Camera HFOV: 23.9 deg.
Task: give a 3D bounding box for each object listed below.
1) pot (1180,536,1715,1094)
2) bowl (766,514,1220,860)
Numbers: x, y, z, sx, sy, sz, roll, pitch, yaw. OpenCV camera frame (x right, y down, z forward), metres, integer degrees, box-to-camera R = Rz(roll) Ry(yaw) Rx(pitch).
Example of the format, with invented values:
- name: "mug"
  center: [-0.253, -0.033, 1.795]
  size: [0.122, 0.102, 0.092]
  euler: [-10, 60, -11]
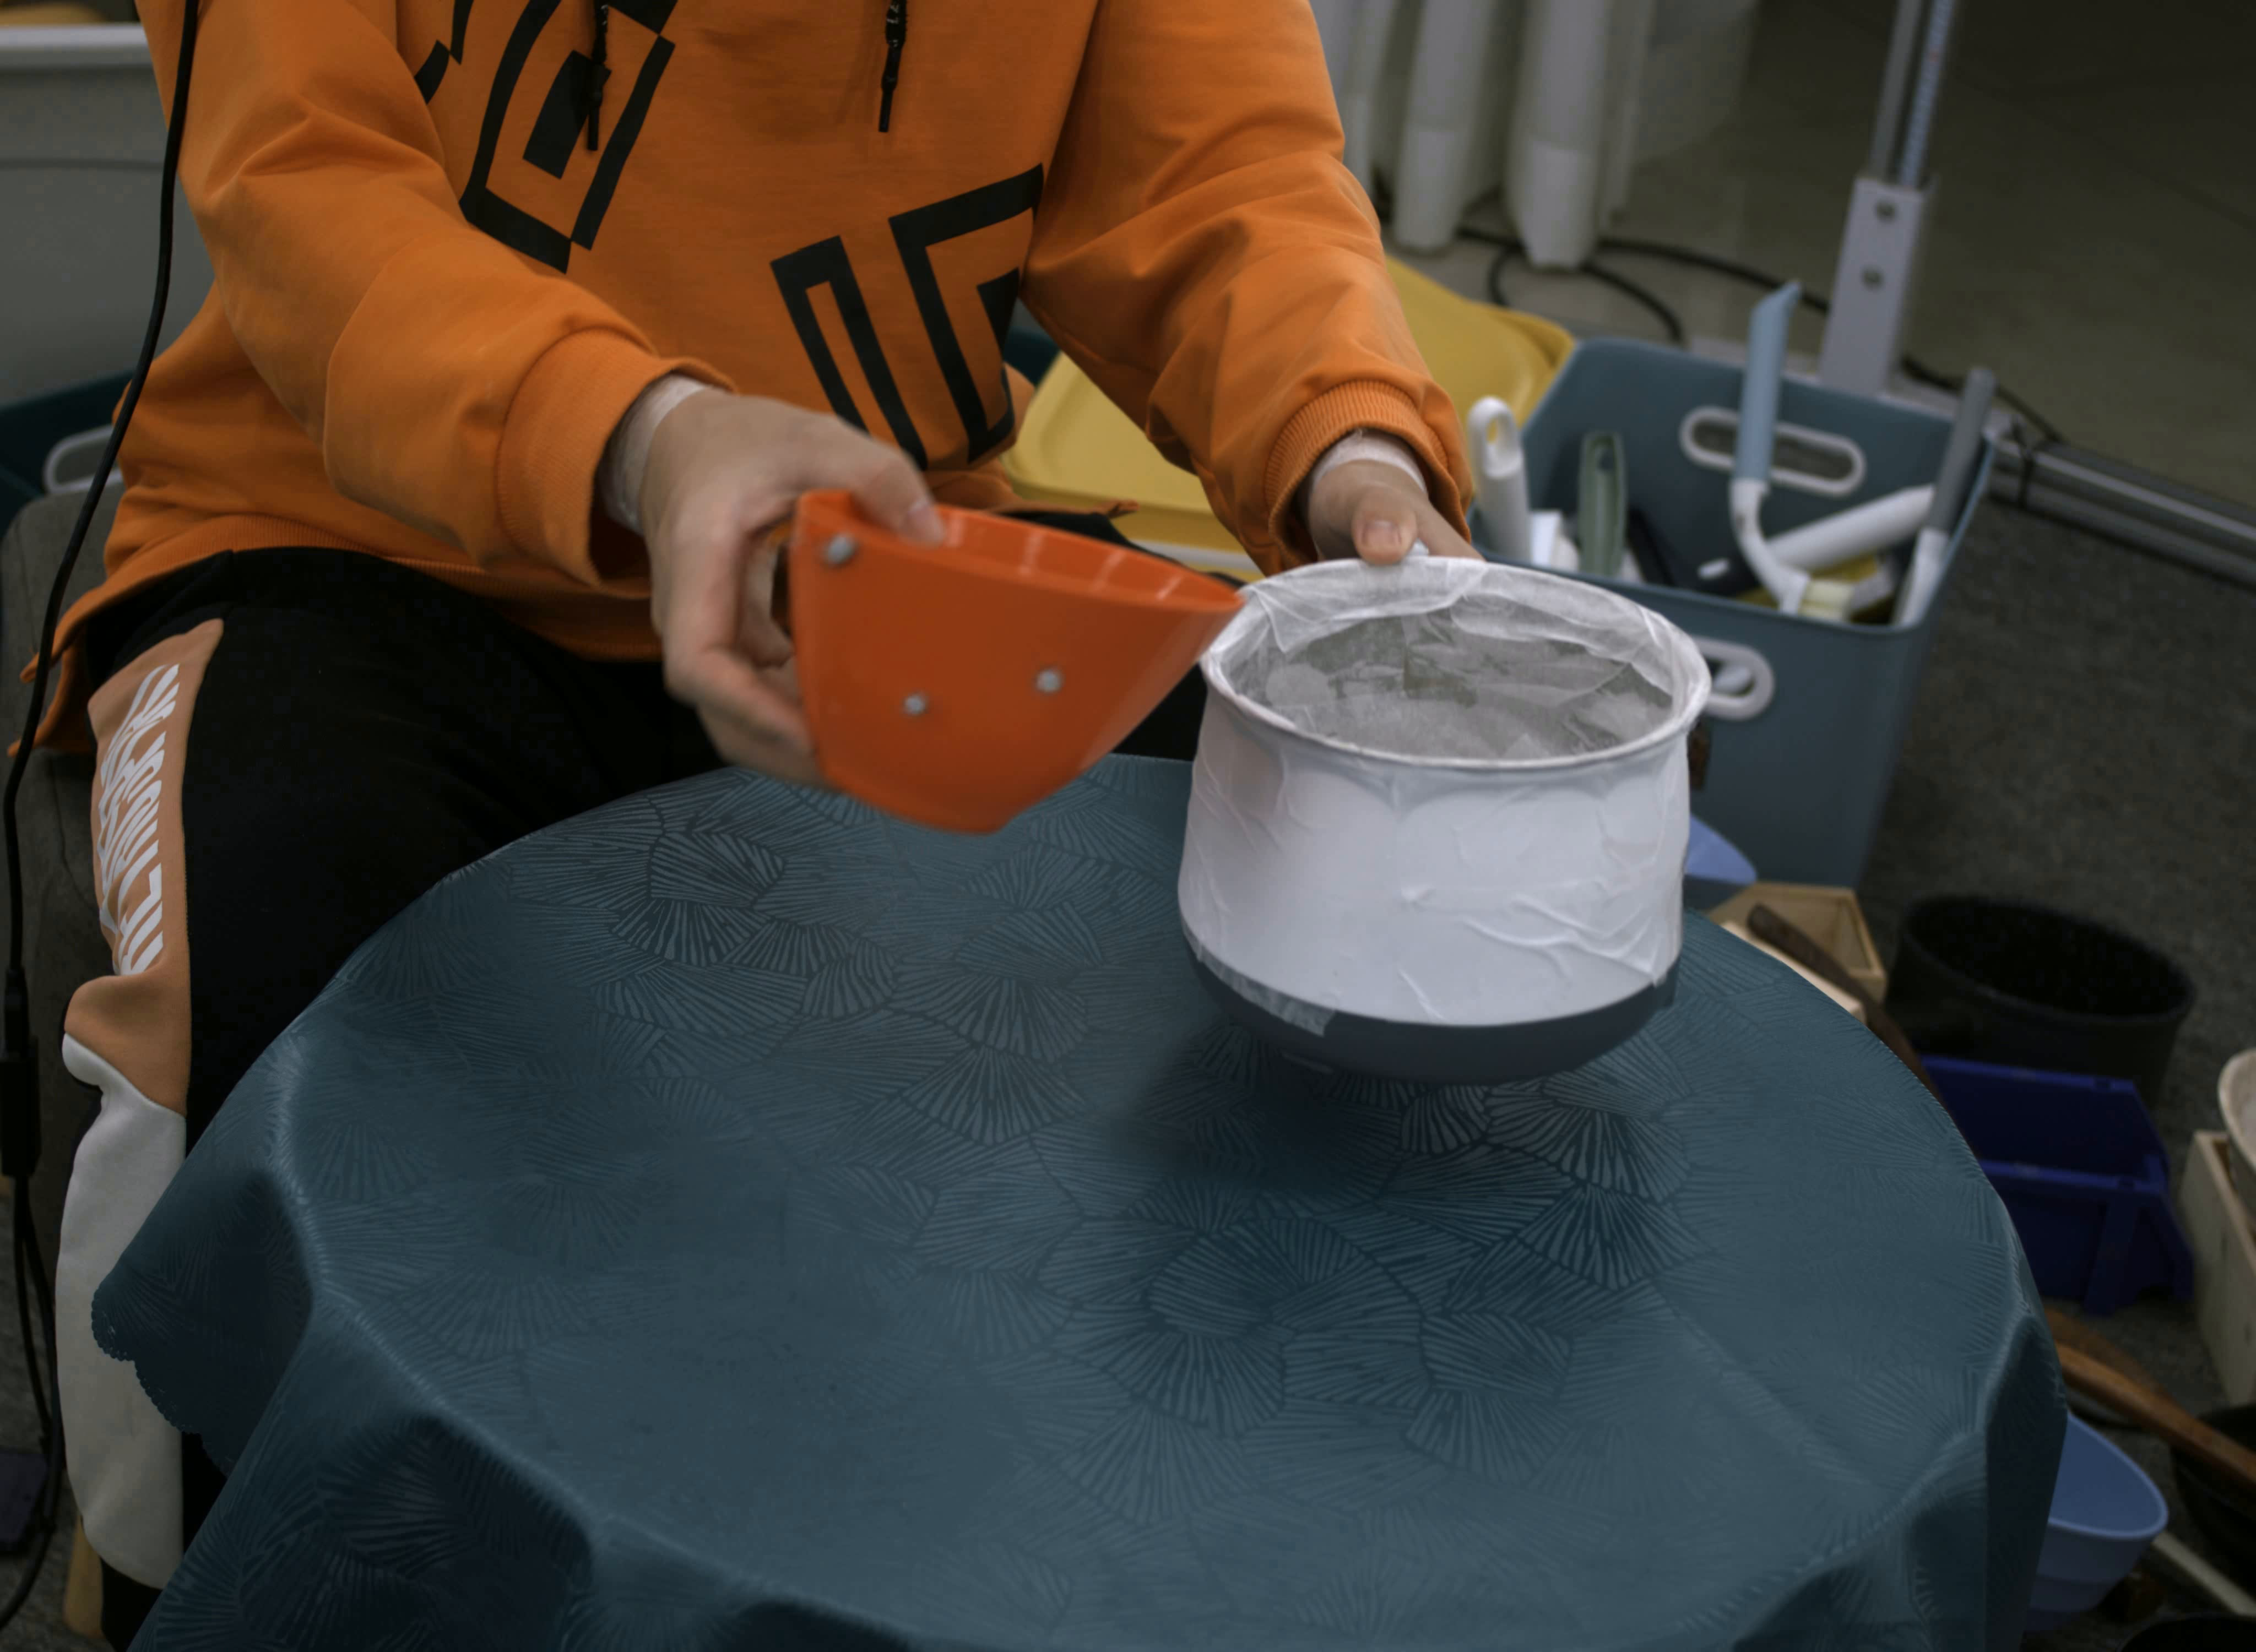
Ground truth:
- name: "pot"
  center: [0.103, -0.010, 1.864]
  size: [0.178, 0.136, 0.235]
  euler: [0, 25, -9]
- name: "bowl"
  center: [-0.055, -0.045, 1.721]
  size: [0.147, 0.104, 0.148]
  euler: [17, 15, -5]
